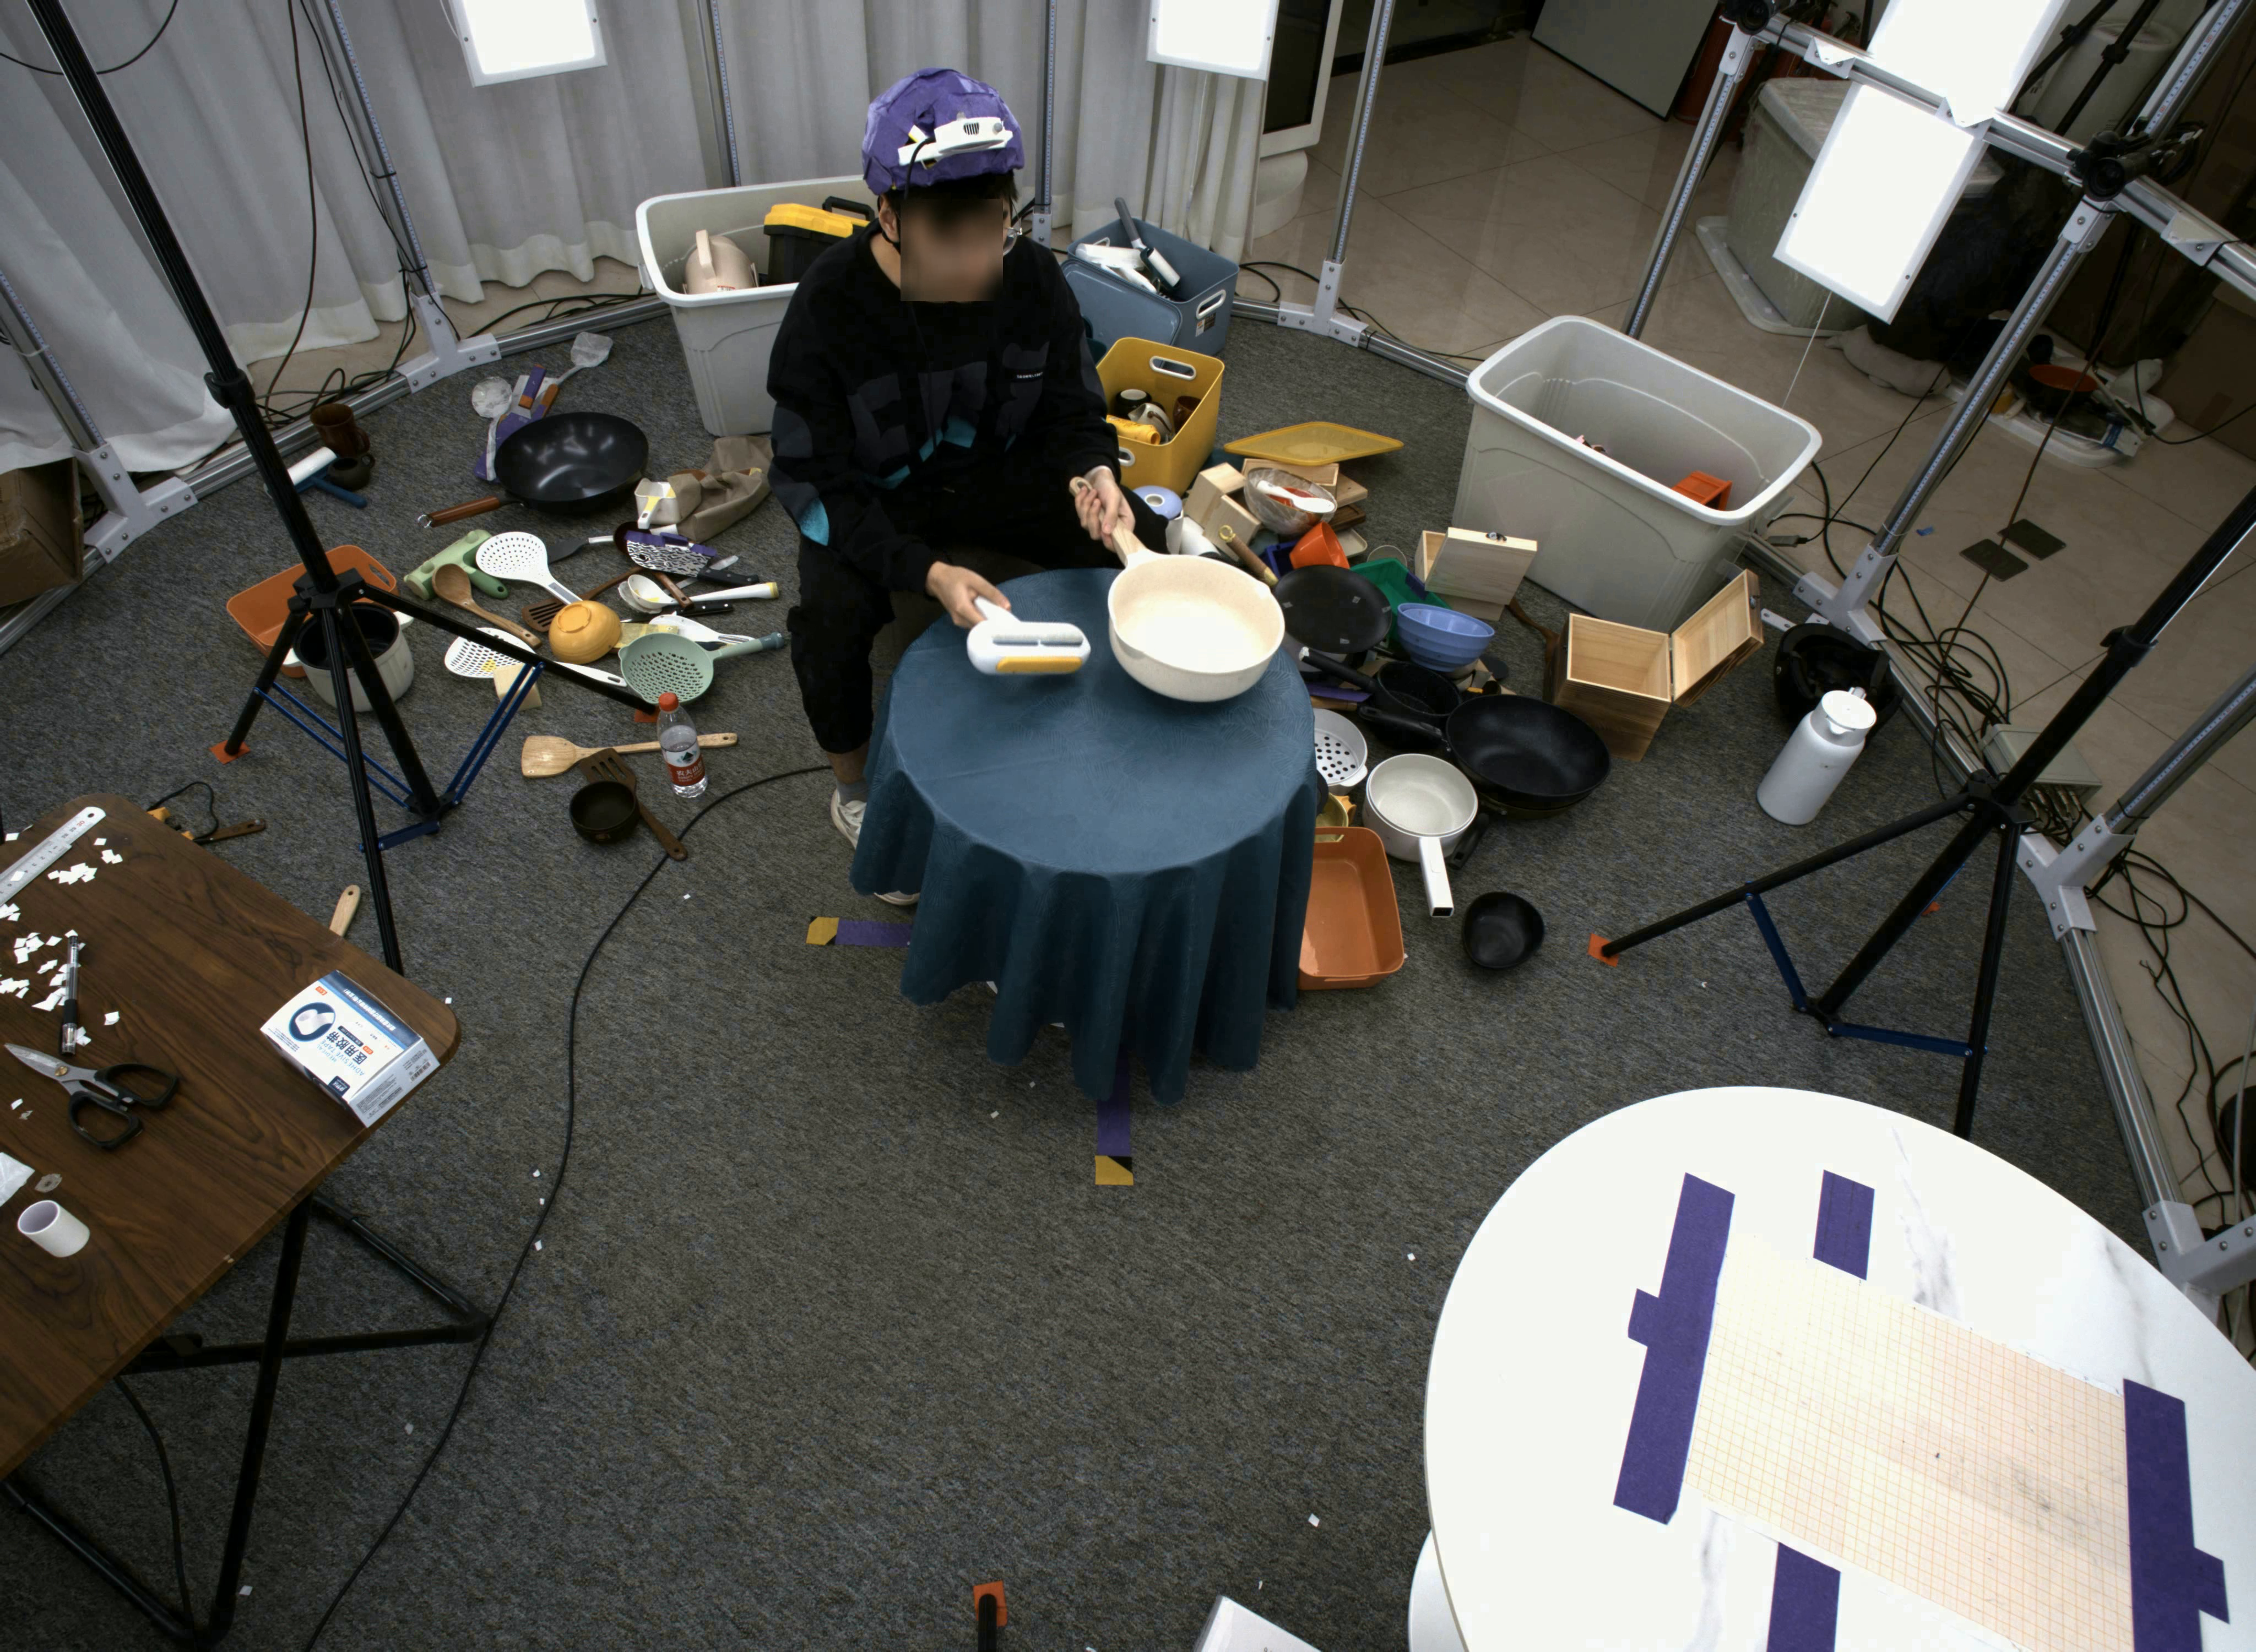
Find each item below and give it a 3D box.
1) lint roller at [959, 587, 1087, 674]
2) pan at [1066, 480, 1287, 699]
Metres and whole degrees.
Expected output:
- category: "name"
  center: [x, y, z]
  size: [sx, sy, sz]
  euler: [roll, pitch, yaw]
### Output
- category: "lint roller"
  center: [-0.171, -0.285, 1.803]
  size: [0.192, 0.073, 0.196]
  euler: [-5, 48, -36]
- category: "pan"
  center: [0.041, -0.345, 1.867]
  size: [0.264, 0.099, 0.443]
  euler: [-25, 57, -27]
